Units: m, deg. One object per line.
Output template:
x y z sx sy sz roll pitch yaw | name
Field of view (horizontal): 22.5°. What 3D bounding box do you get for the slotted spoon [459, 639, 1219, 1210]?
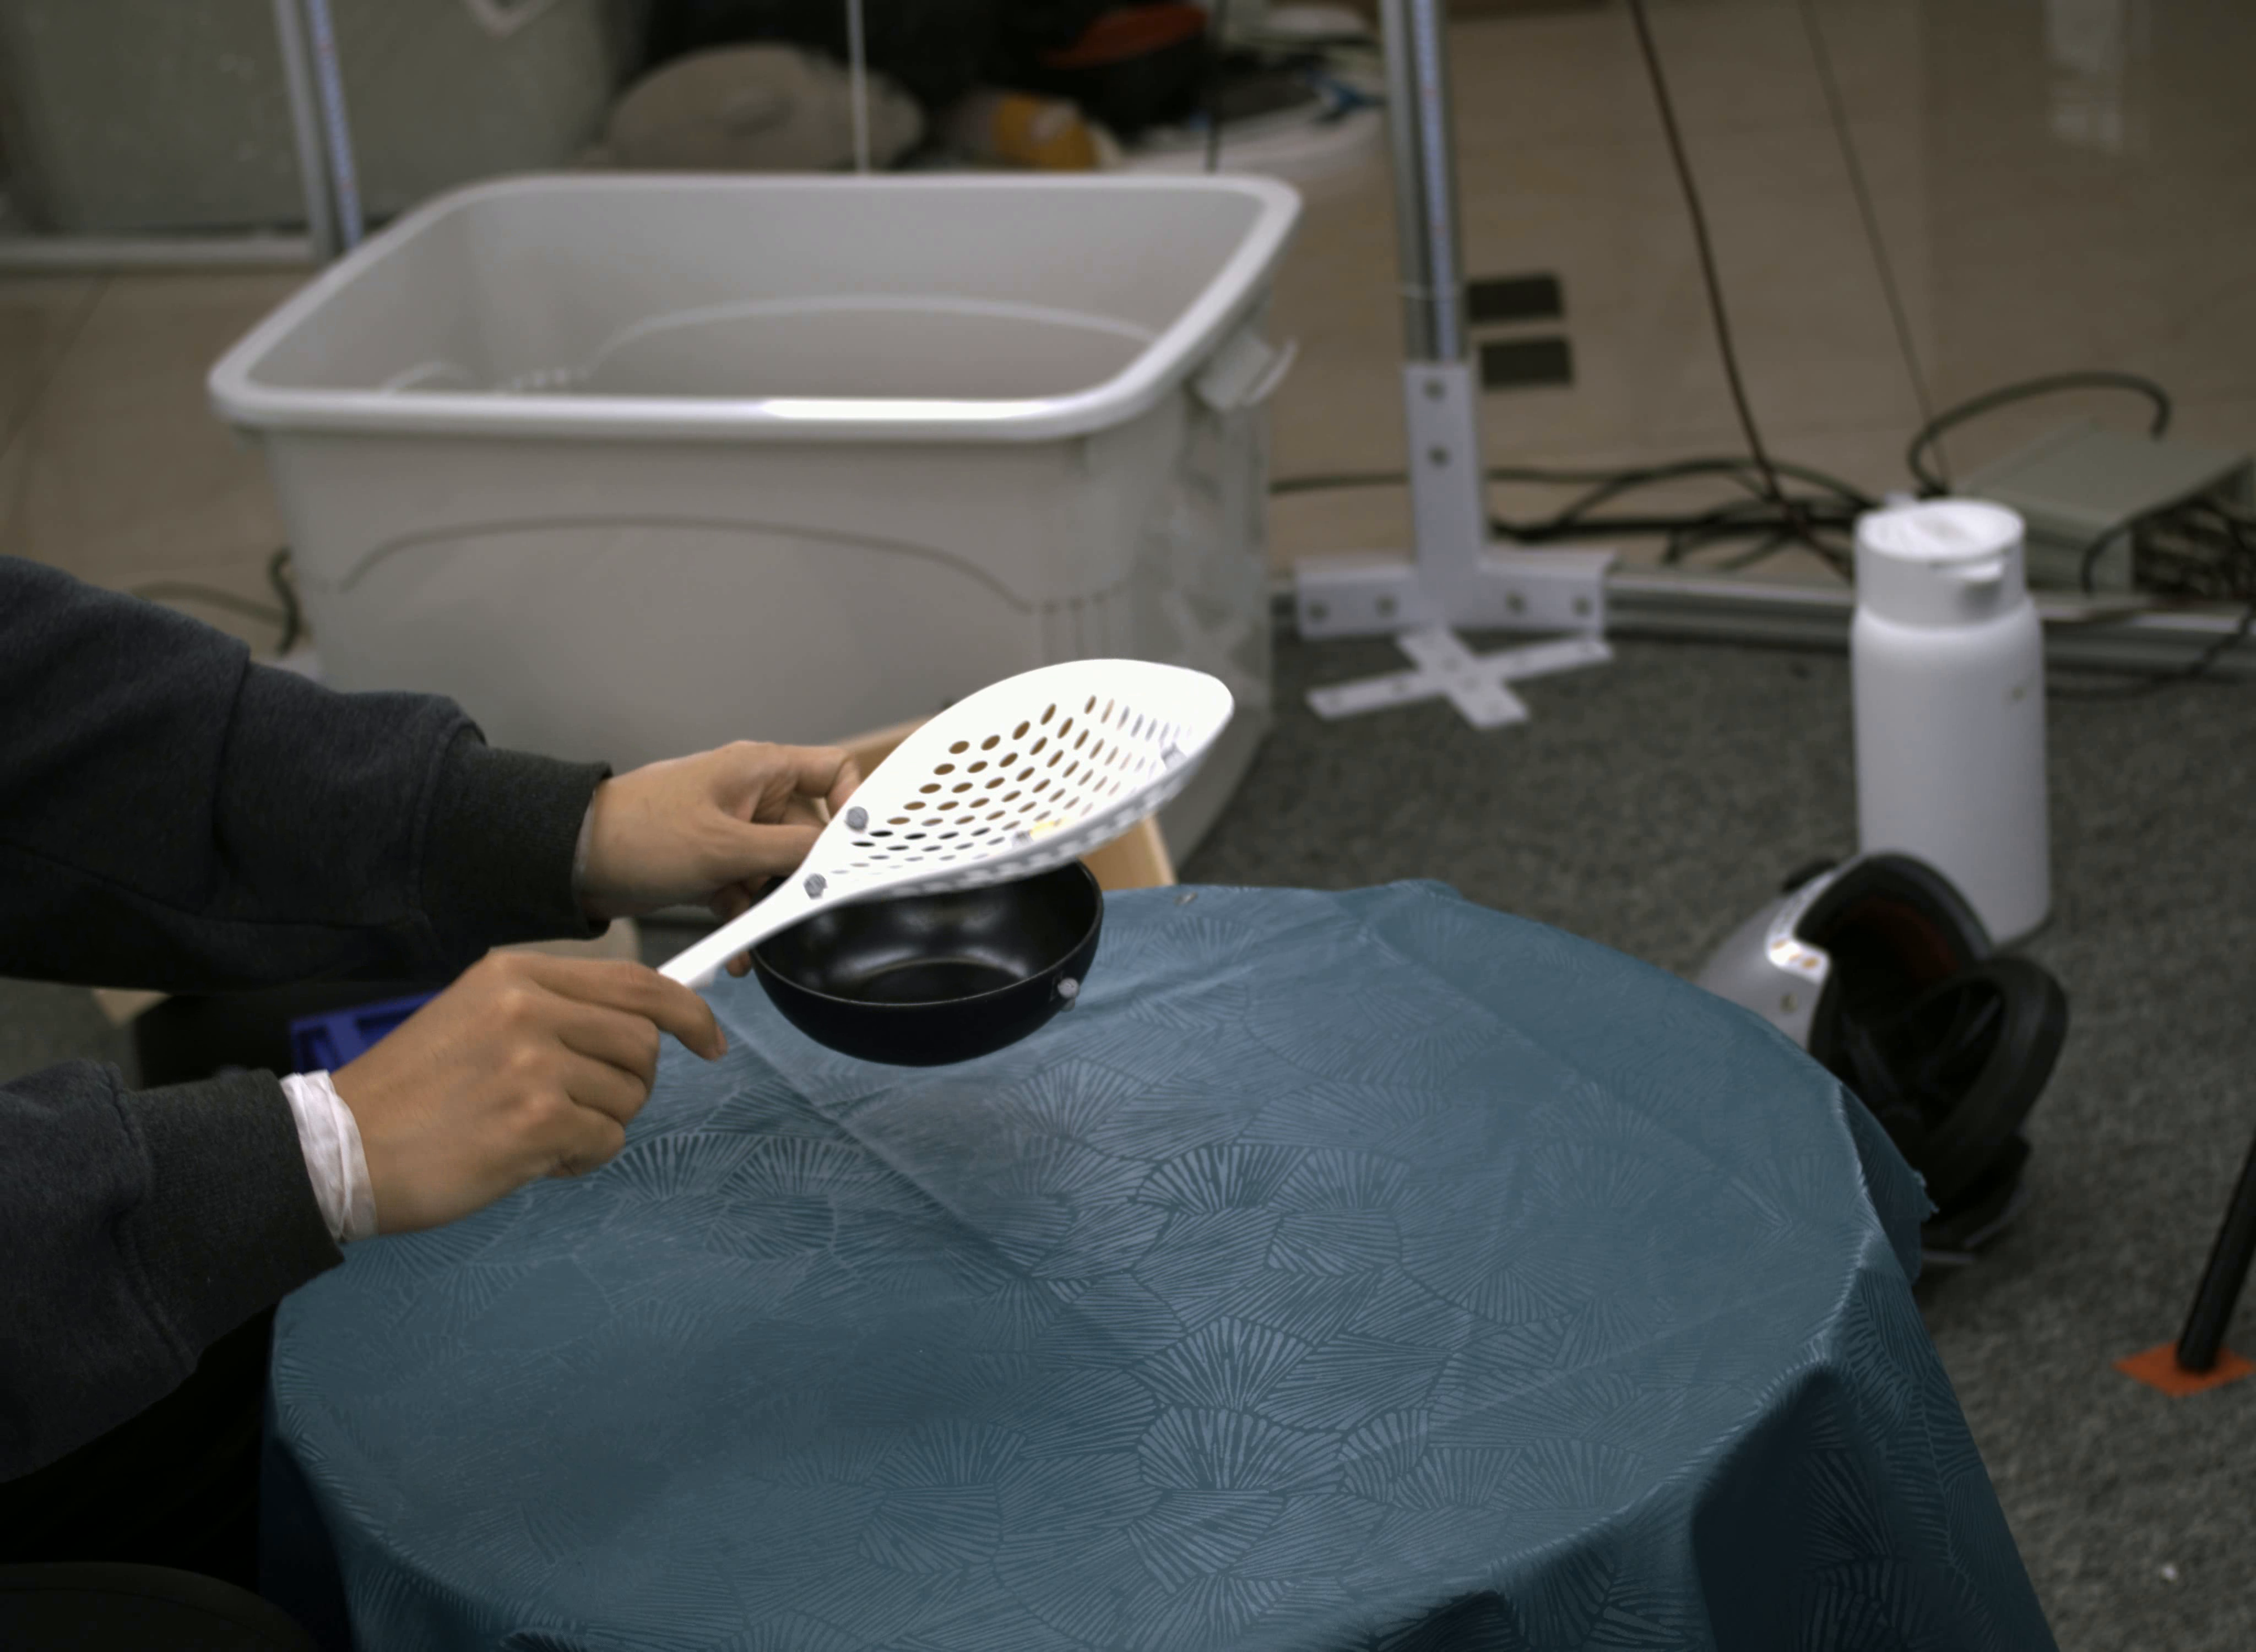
-0.108 0.030 1.984 0.345 0.051 0.136 -31 27 -32 | slotted spoon
